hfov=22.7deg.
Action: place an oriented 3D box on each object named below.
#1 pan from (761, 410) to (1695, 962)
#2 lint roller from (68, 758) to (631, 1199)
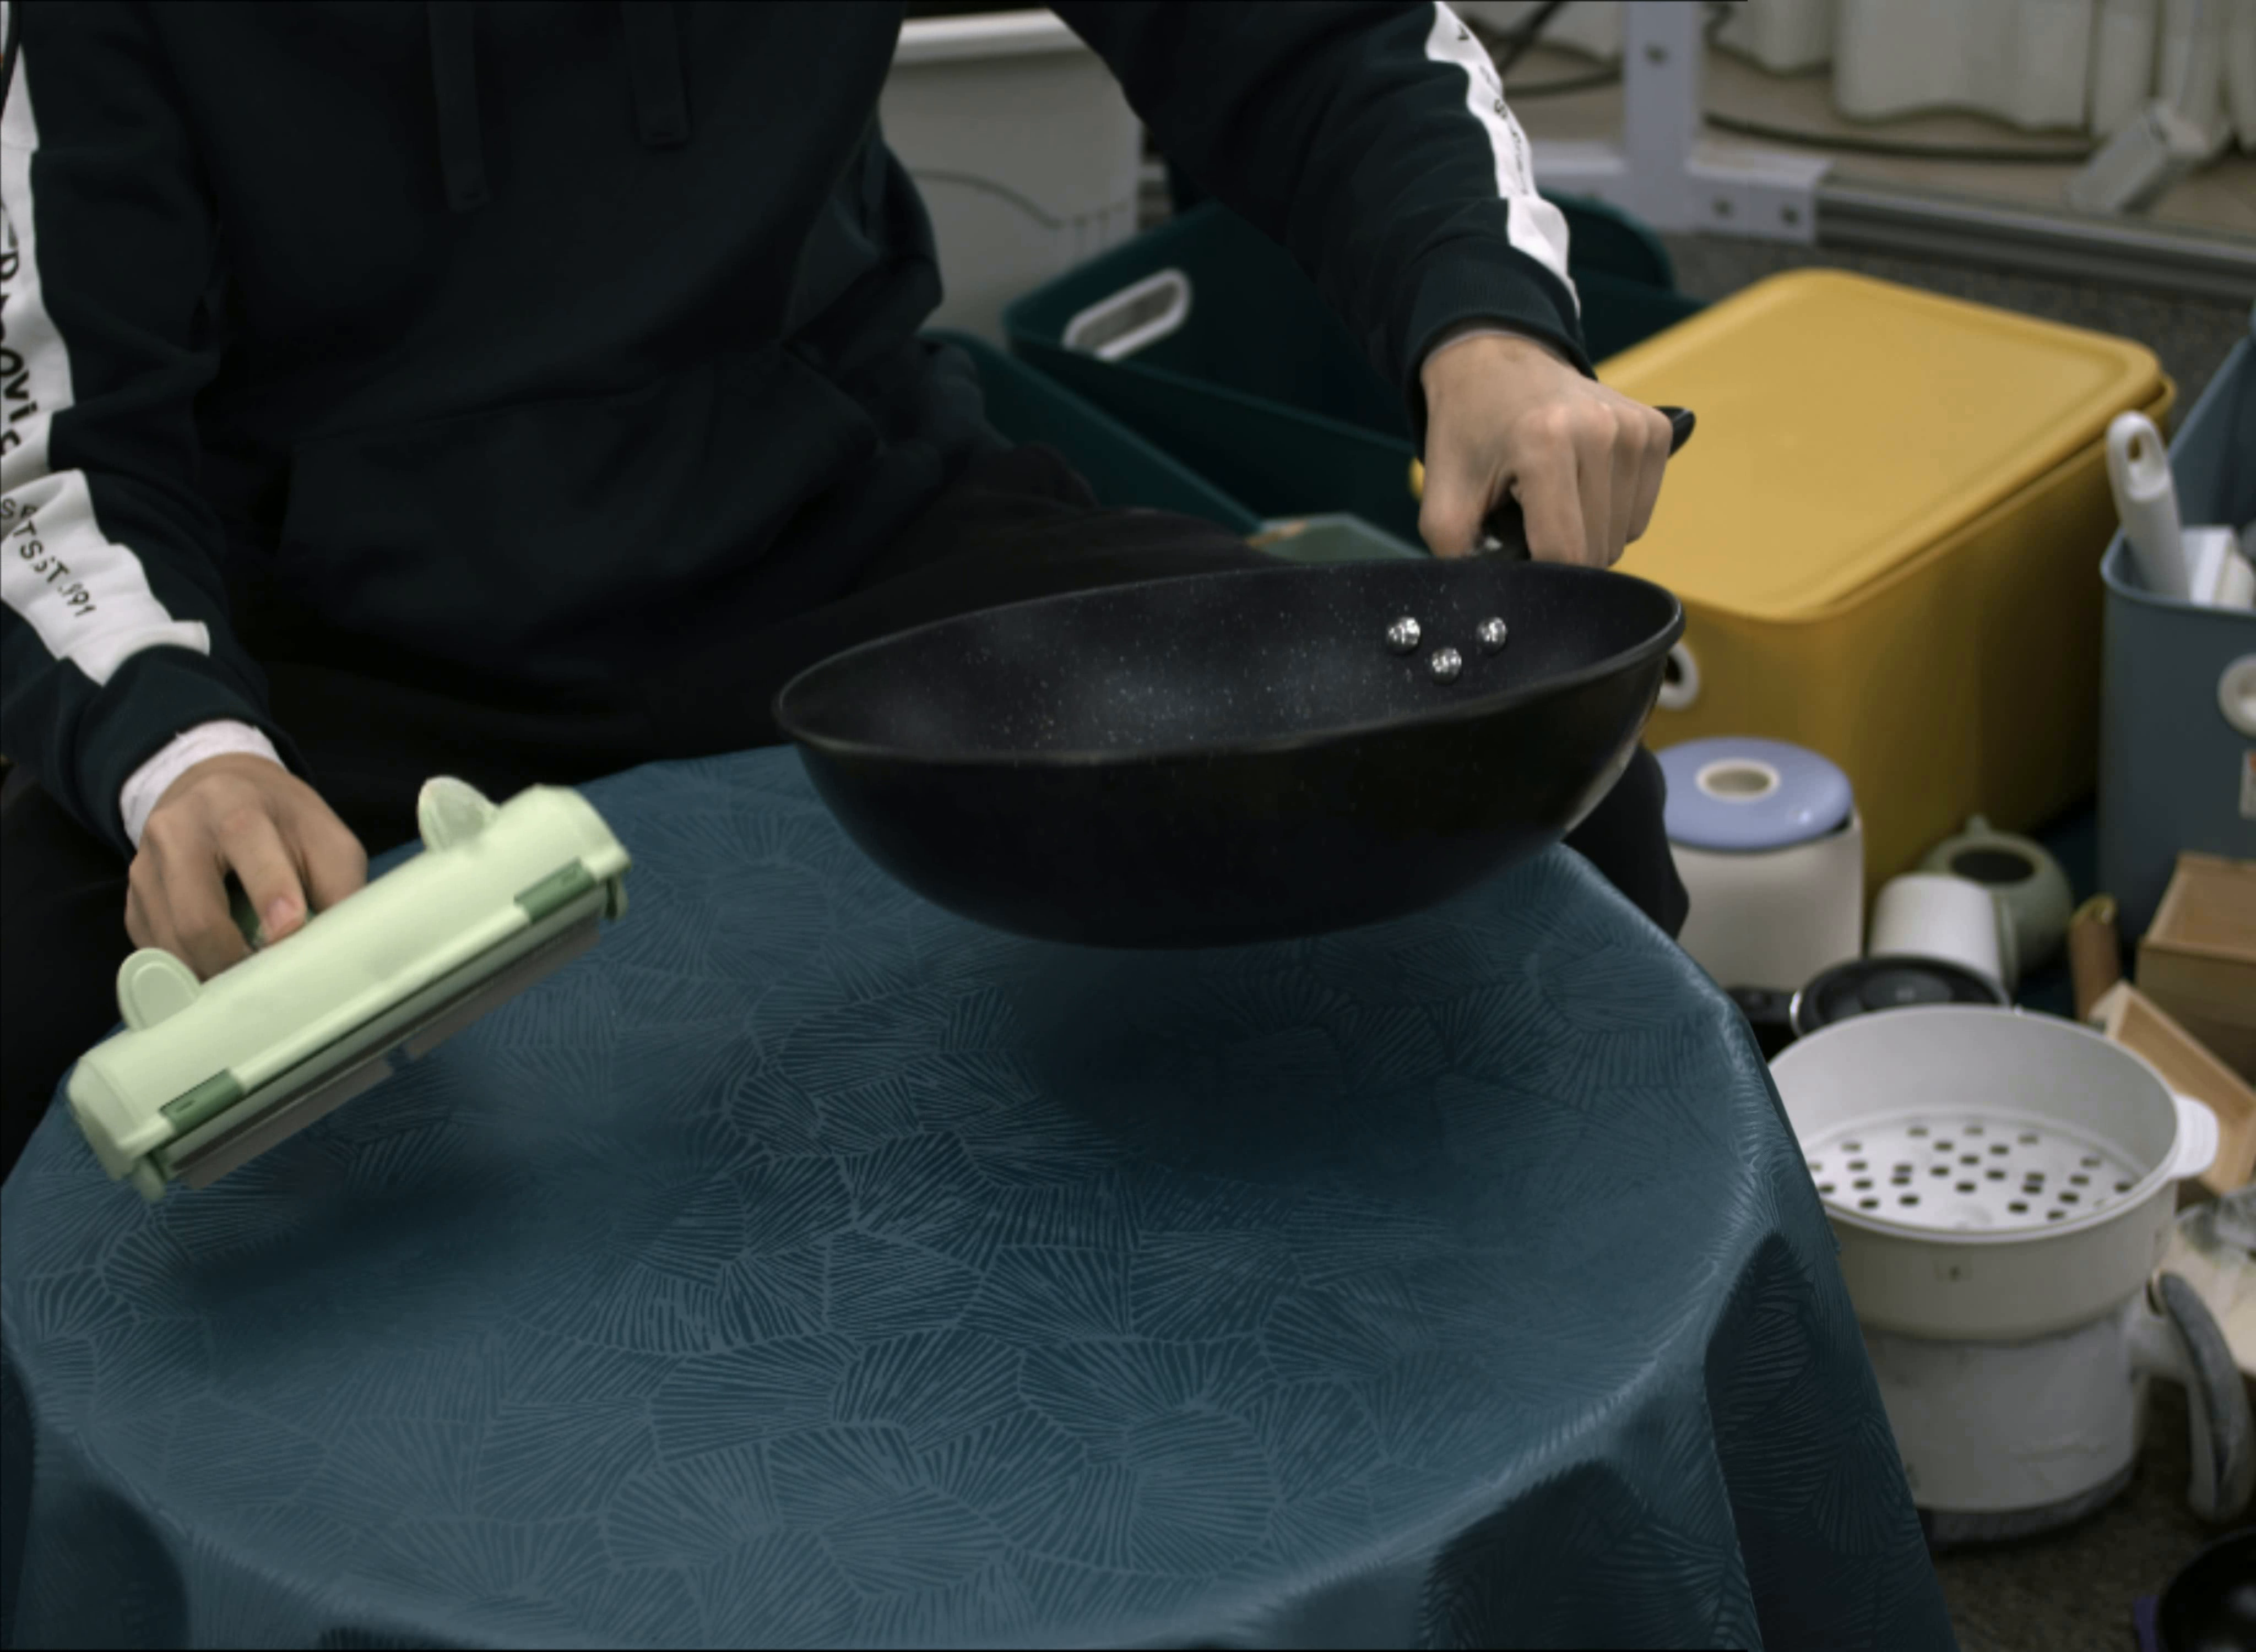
[{"bbox_3d":[0.079,-0.048,1.955,0.307,0.111,0.482,3,15,33],"label":"pan"},{"bbox_3d":[-0.285,0.029,1.889,0.200,0.081,0.183,-33,33,-21],"label":"lint roller"}]
